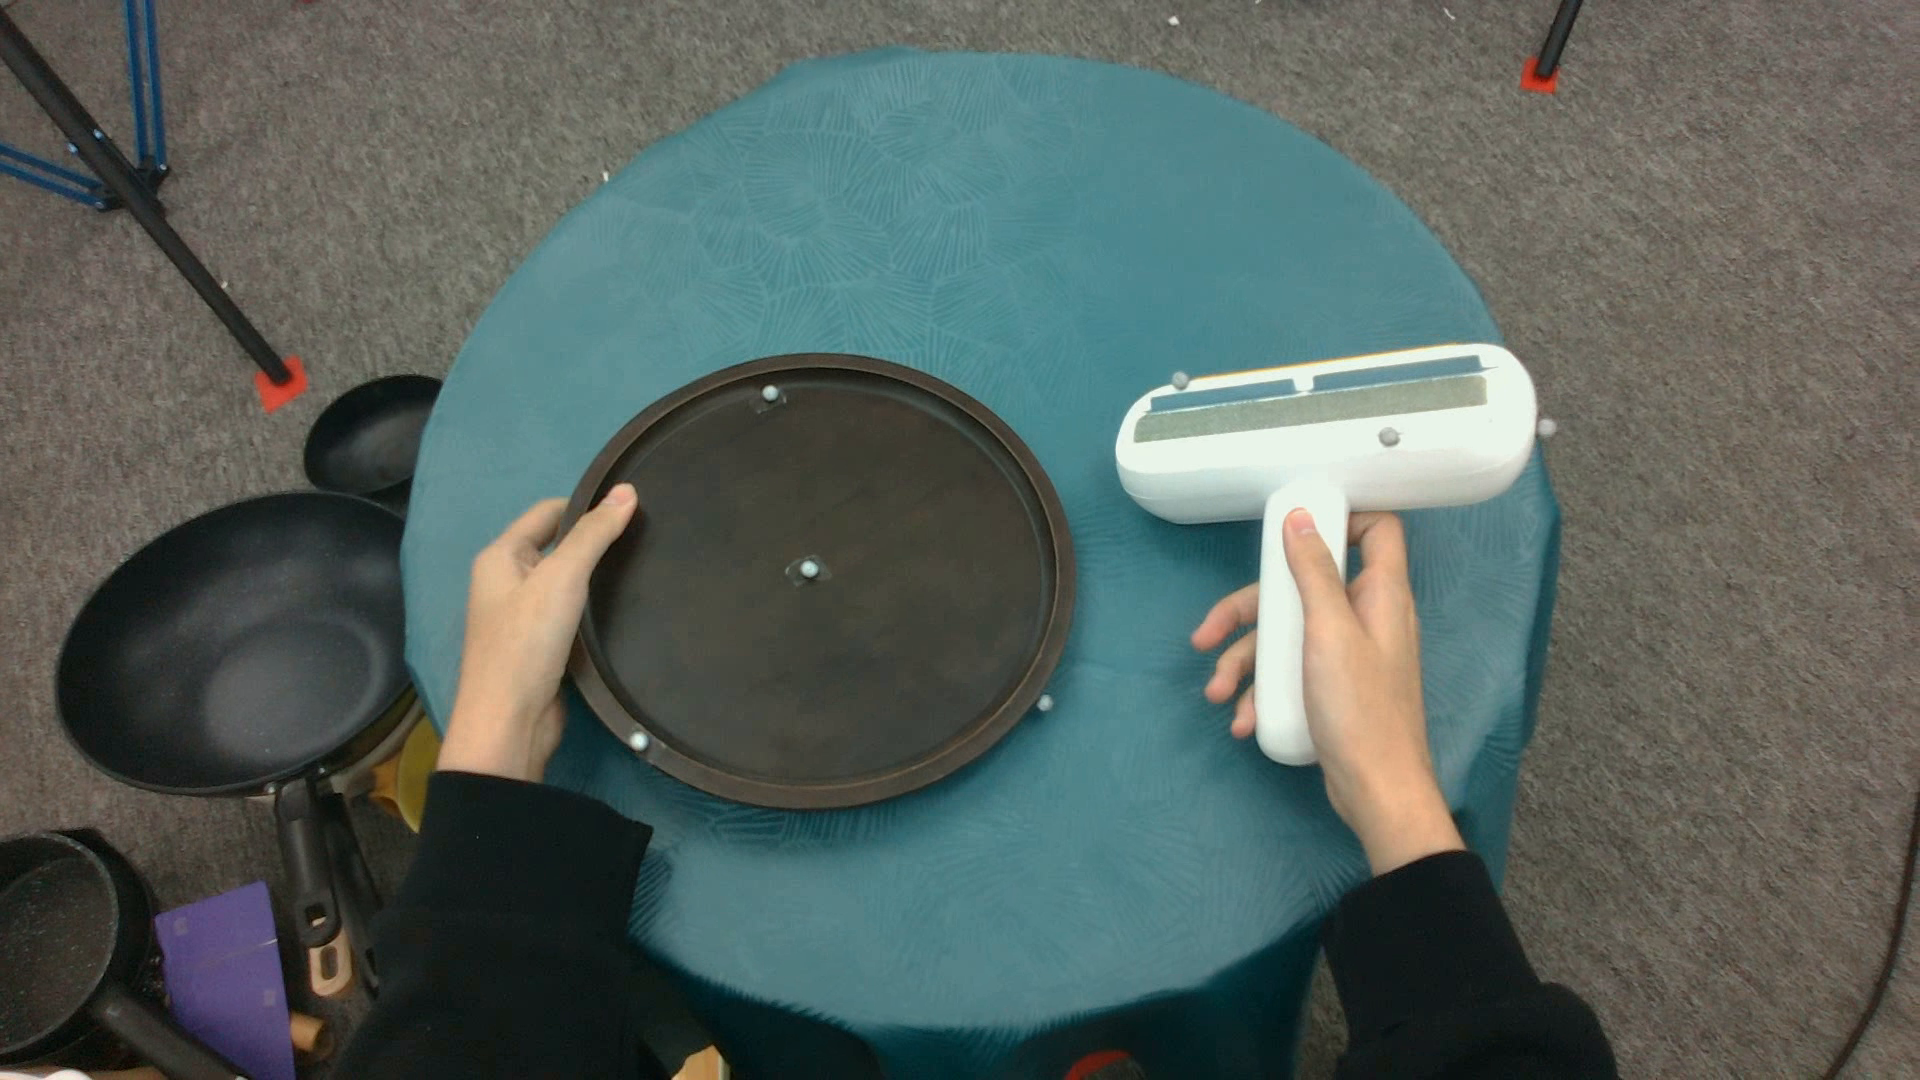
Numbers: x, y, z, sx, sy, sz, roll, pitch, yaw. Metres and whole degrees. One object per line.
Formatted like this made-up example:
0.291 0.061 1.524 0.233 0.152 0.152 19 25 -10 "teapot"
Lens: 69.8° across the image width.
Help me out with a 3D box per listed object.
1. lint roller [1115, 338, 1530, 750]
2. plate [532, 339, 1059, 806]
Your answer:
0.153 -0.002 0.629 0.192 0.074 0.193 2 61 29 "lint roller"
-0.077 0.008 0.673 0.255 0.029 0.256 3 62 -5 "plate"
